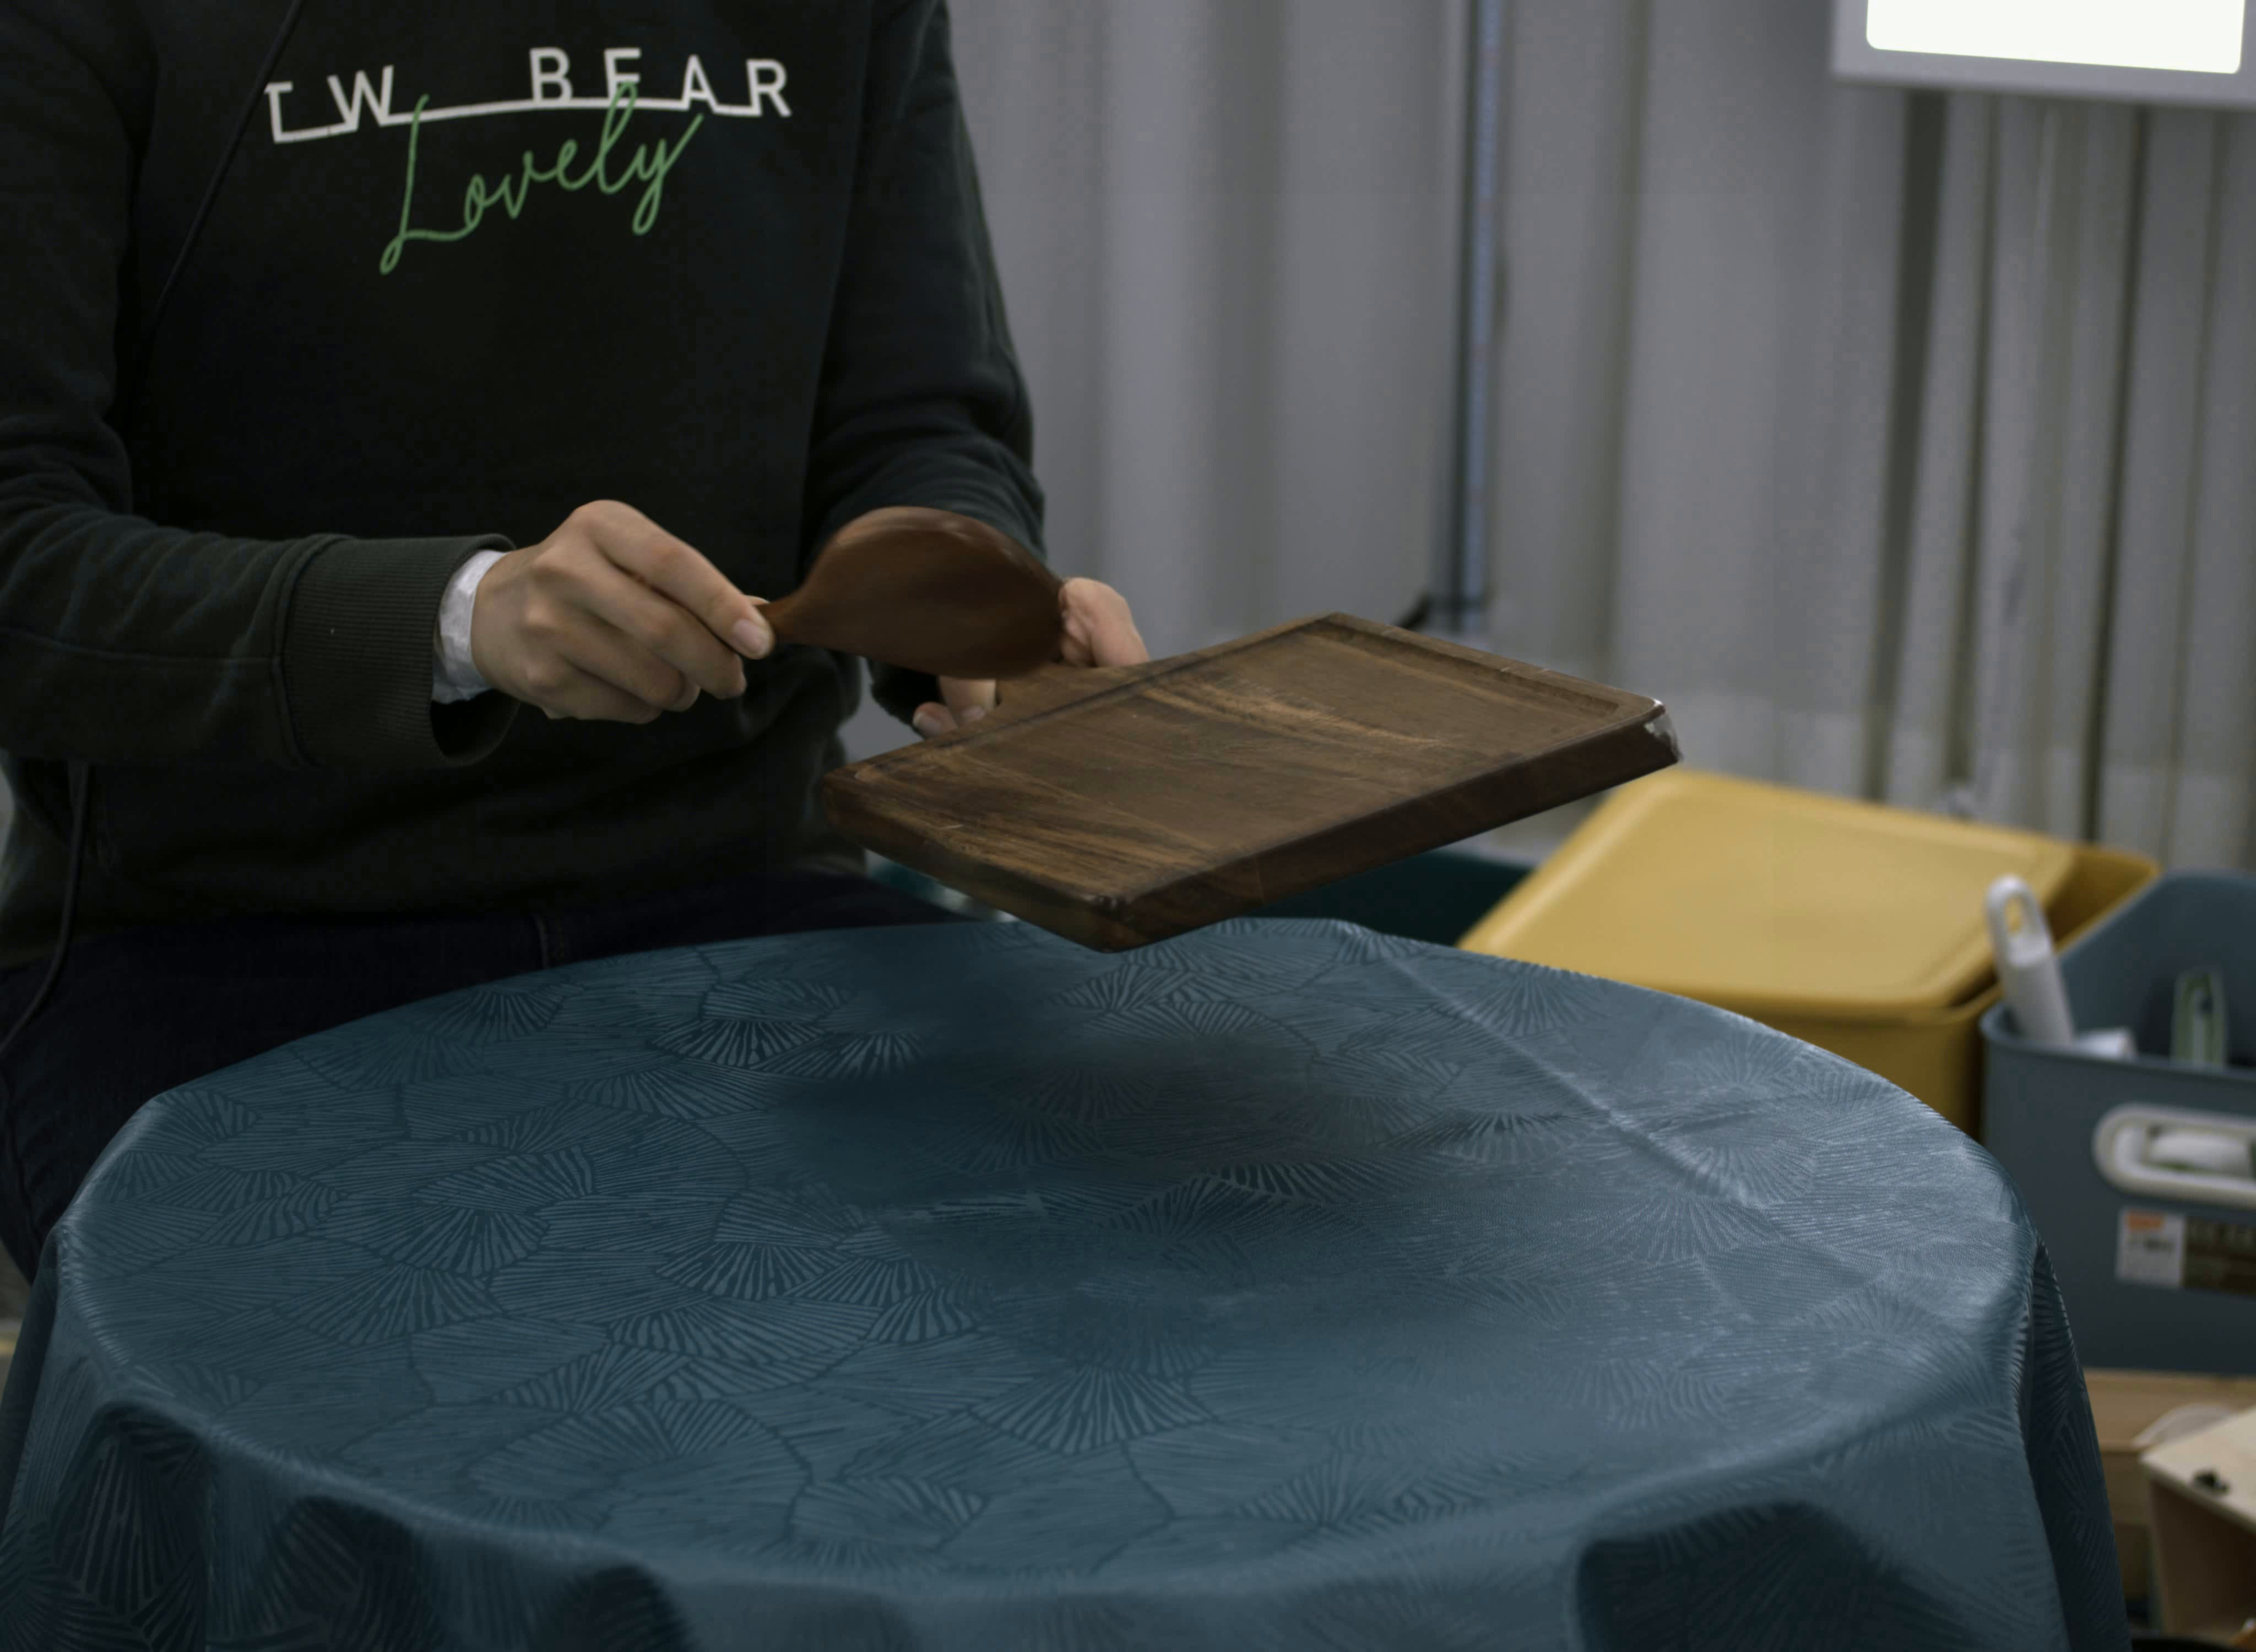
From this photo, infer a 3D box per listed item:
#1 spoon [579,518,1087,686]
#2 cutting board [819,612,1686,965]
[{"bbox_3d":[-0.101,-0.064,1.693,0.213,0.076,0.017,-3,49,42],"label":"spoon"},{"bbox_3d":[0.014,-0.024,1.703,0.201,0.023,0.348,-20,16,-19],"label":"cutting board"}]
